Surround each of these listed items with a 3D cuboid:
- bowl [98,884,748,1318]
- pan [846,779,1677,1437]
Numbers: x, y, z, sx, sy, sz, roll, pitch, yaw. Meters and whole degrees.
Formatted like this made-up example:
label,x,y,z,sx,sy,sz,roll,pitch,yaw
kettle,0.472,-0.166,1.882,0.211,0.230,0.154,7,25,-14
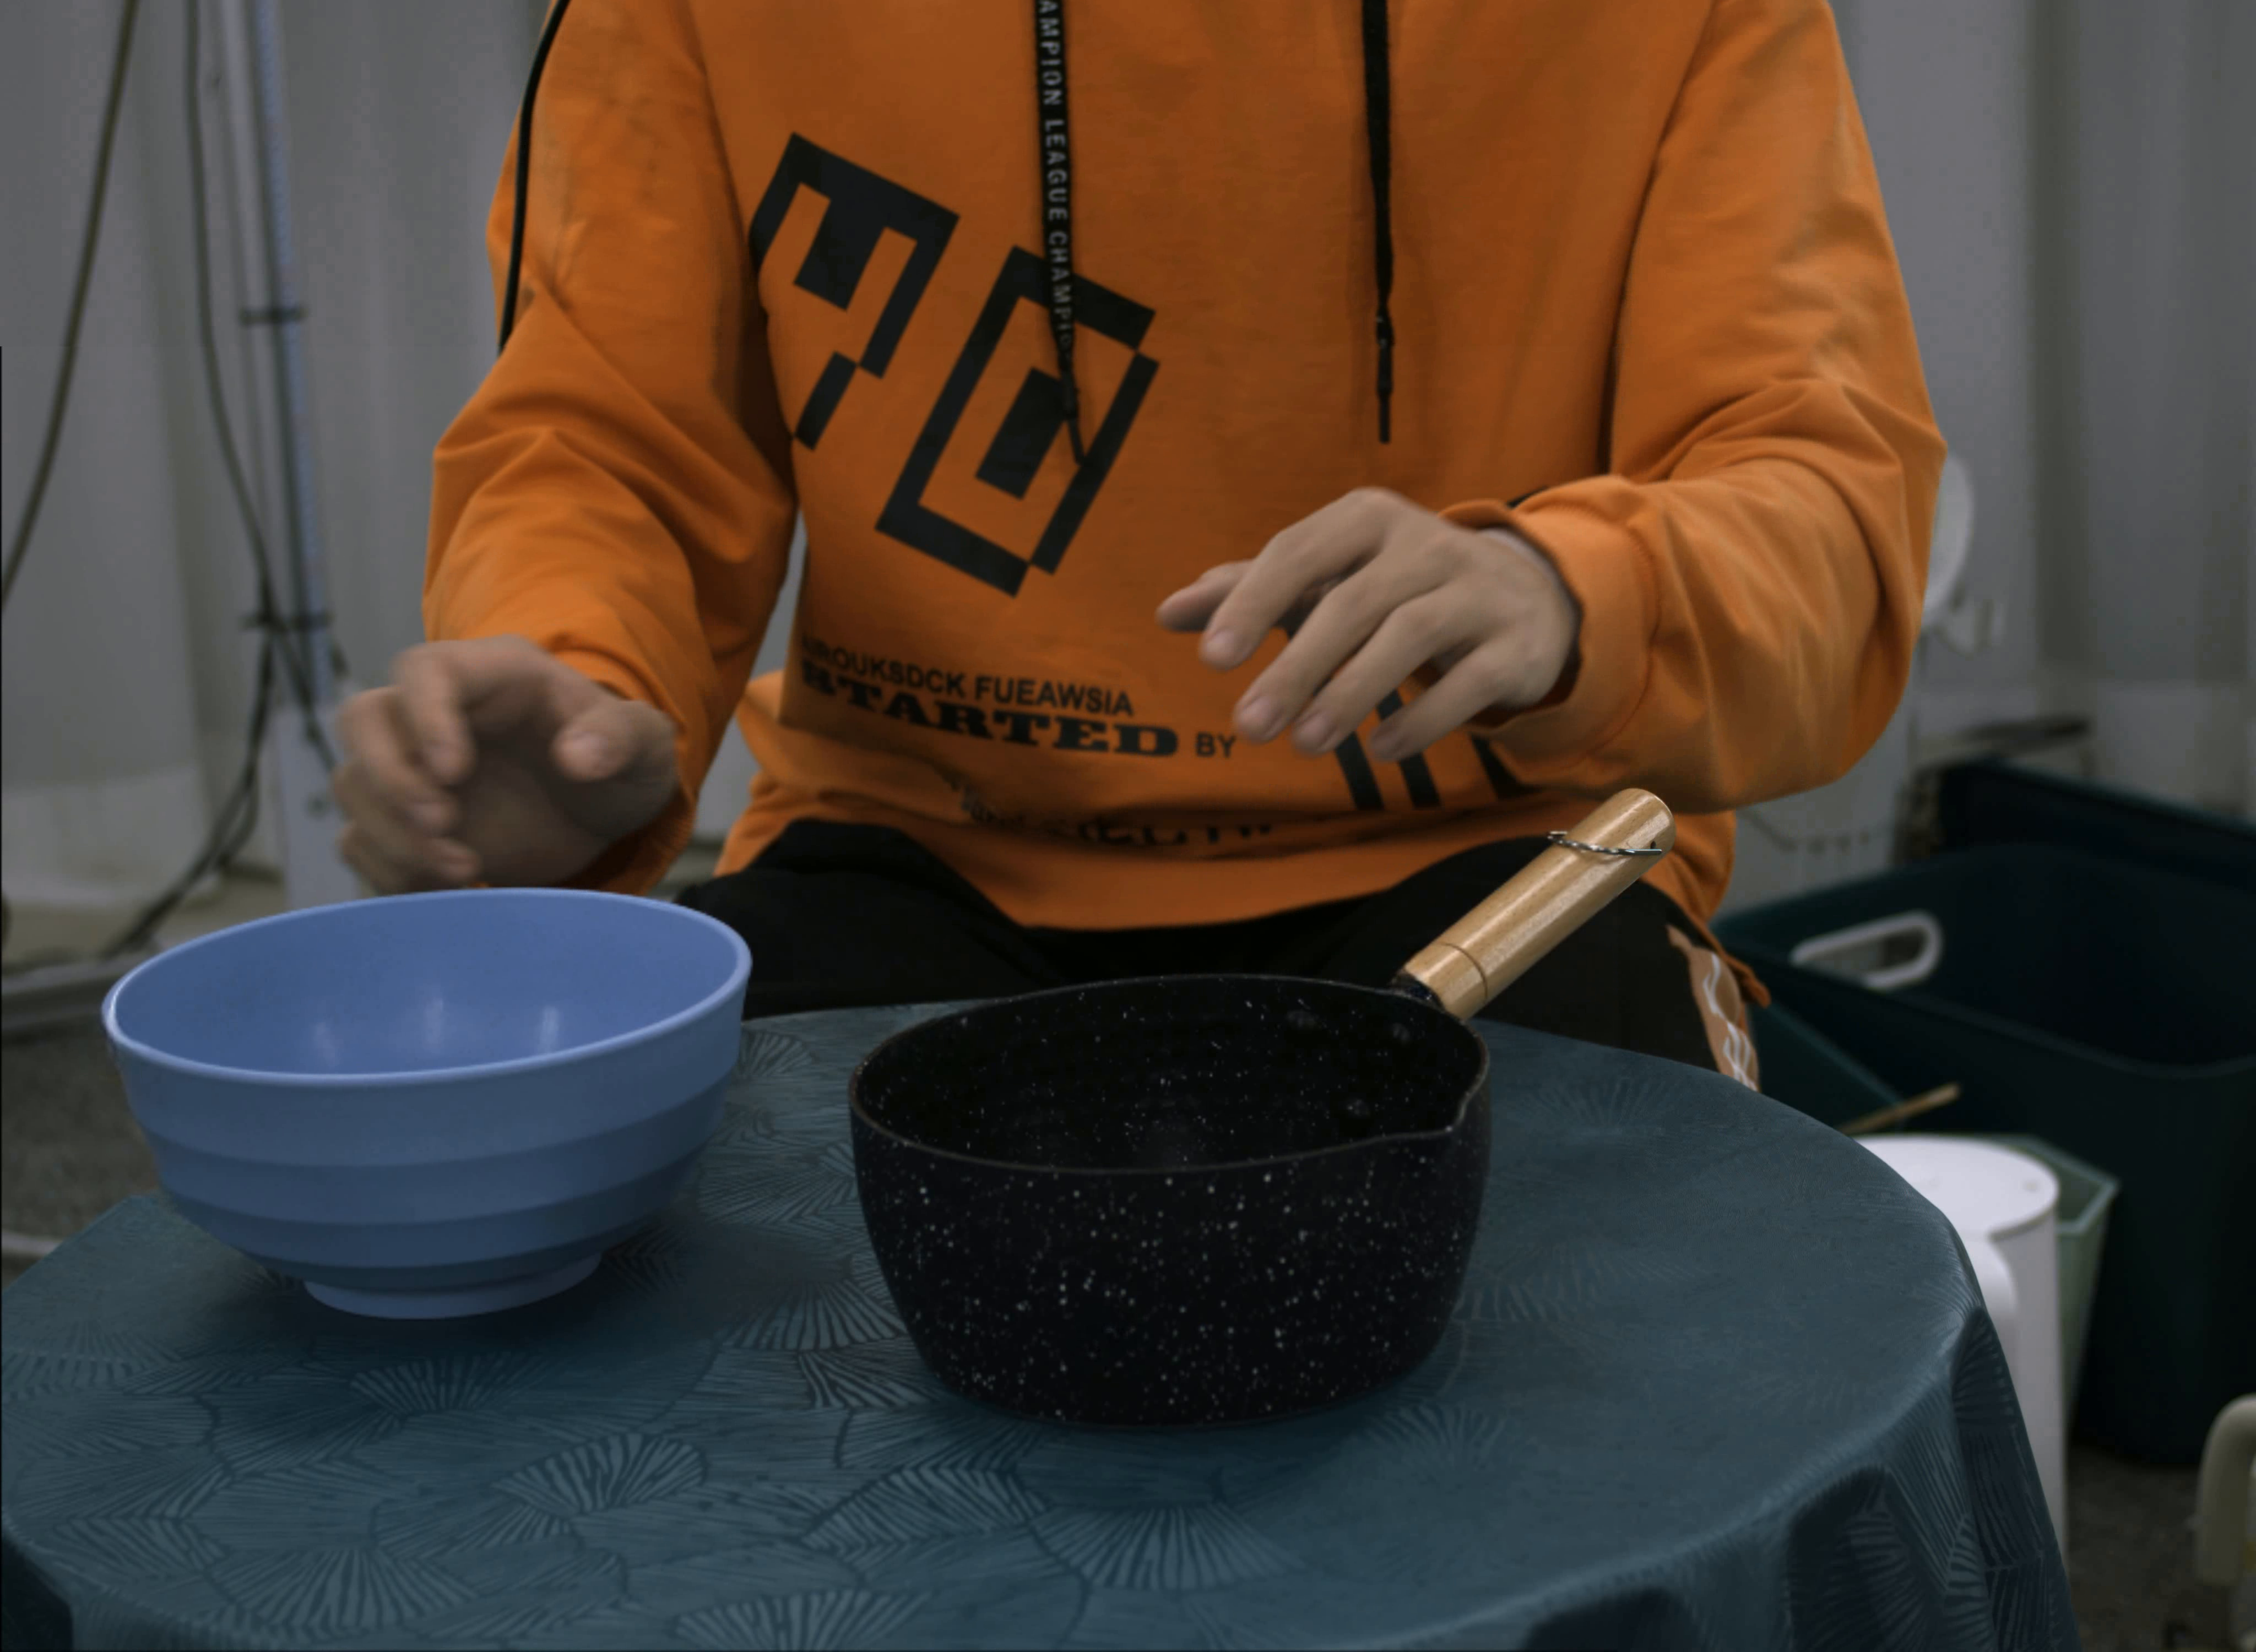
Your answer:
label,x,y,z,sx,sy,sz,roll,pitch,yaw
bowl,-0.209,0.089,1.665,0.196,0.095,0.198,-4,15,1
pan,0.061,0.079,1.629,0.208,0.108,0.343,7,19,37
